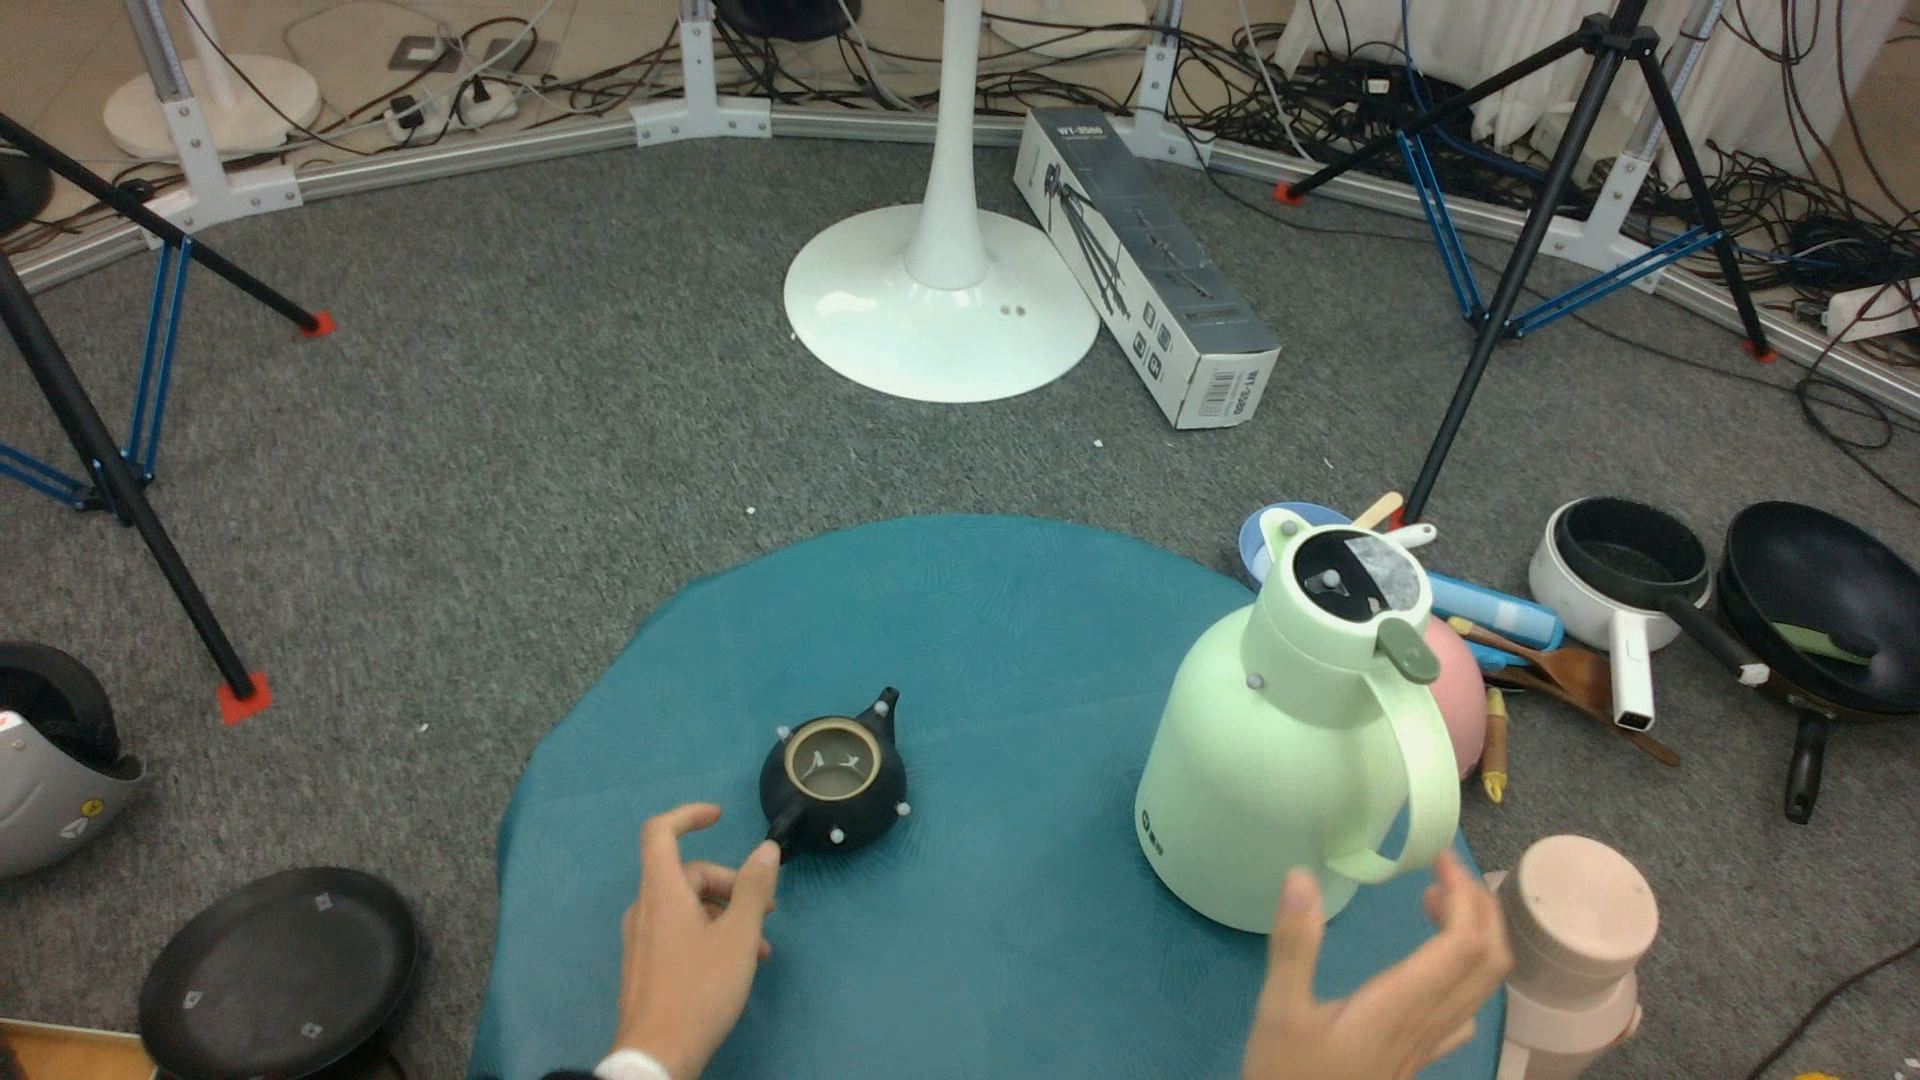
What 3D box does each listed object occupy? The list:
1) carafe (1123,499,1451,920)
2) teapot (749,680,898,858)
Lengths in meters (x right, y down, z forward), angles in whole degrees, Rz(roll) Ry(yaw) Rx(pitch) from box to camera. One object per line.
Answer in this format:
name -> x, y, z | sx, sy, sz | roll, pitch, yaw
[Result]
carafe -> 0.190, 0.108, 0.774 | 0.144, 0.255, 0.187 | -13, 53, -19
teapot -> -0.084, 0.144, 0.842 | 0.091, 0.053, 0.134 | 25, 49, 19
